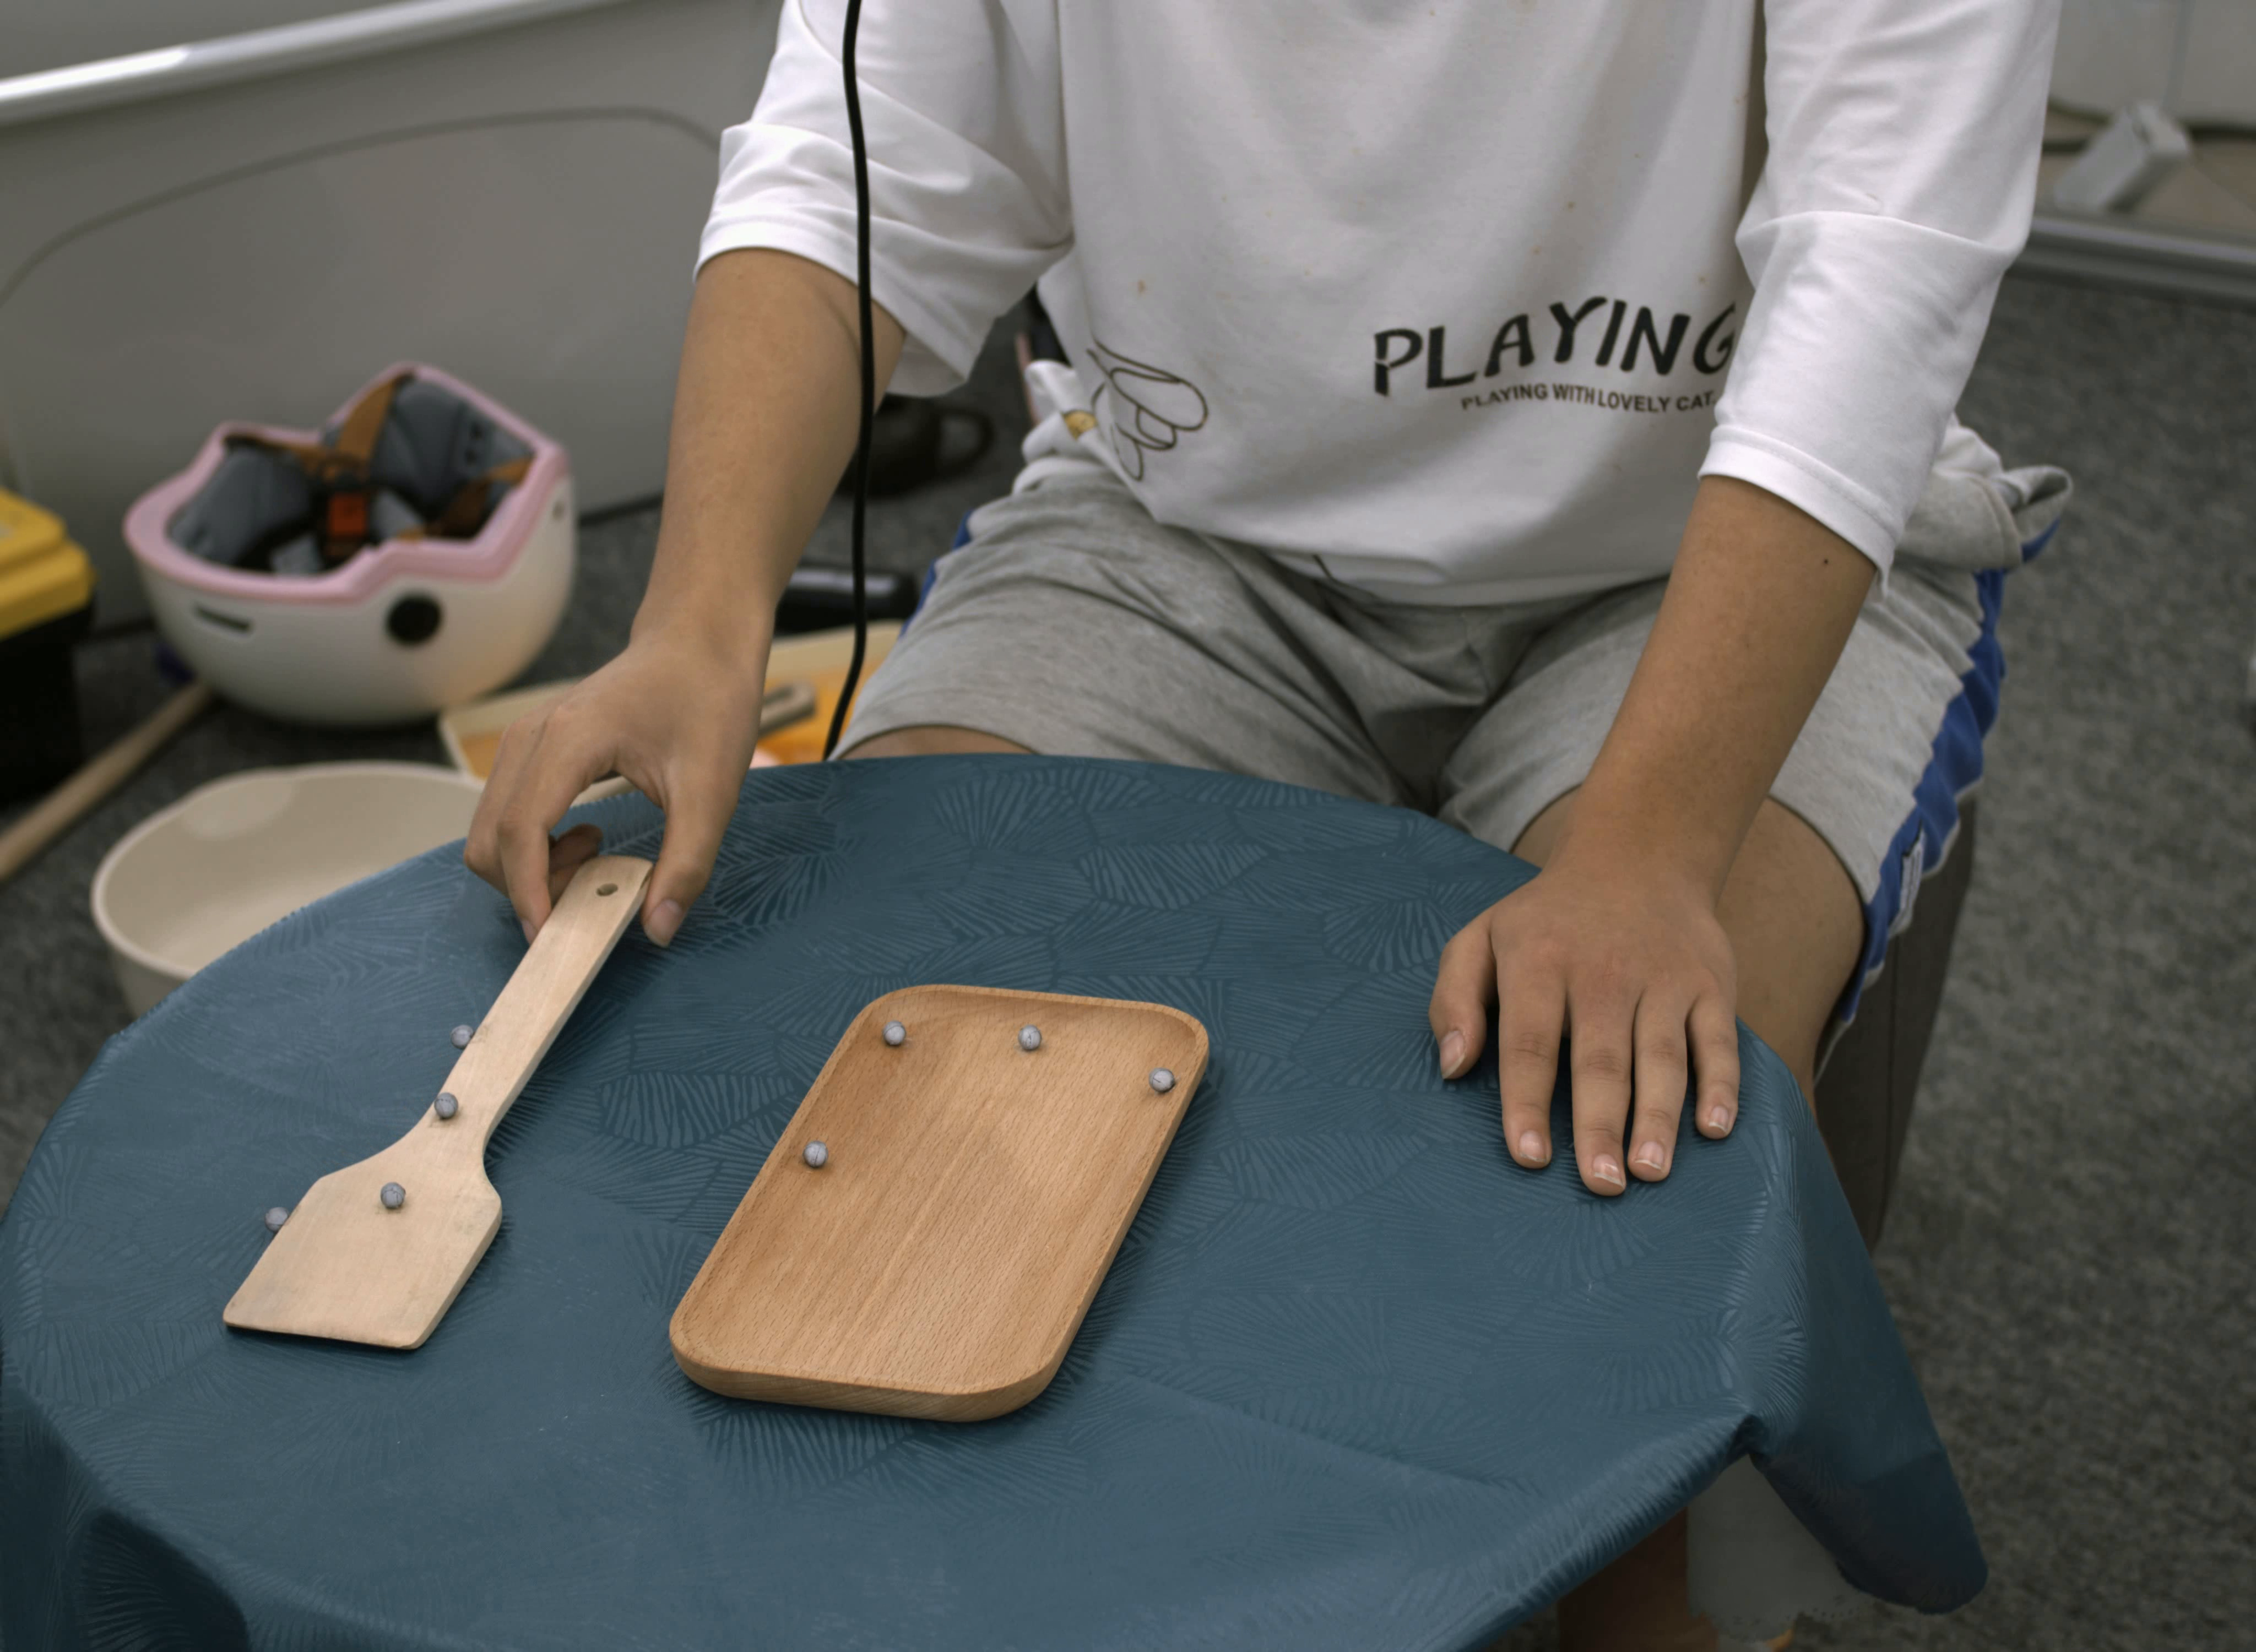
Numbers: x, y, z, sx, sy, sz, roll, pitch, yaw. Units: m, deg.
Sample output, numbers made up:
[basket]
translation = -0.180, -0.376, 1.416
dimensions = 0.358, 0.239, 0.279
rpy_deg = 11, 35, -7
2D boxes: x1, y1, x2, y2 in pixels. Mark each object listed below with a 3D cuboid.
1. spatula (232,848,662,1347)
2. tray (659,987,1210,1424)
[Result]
[spatula]
translation = -0.220, 0.088, 1.921
dimensions = 0.072, 0.010, 0.298
rpy_deg = 5, 33, 15
[tray]
translation = -0.060, 0.122, 1.851
dimensions = 0.129, 0.022, 0.255
rpy_deg = 3, 28, 16
